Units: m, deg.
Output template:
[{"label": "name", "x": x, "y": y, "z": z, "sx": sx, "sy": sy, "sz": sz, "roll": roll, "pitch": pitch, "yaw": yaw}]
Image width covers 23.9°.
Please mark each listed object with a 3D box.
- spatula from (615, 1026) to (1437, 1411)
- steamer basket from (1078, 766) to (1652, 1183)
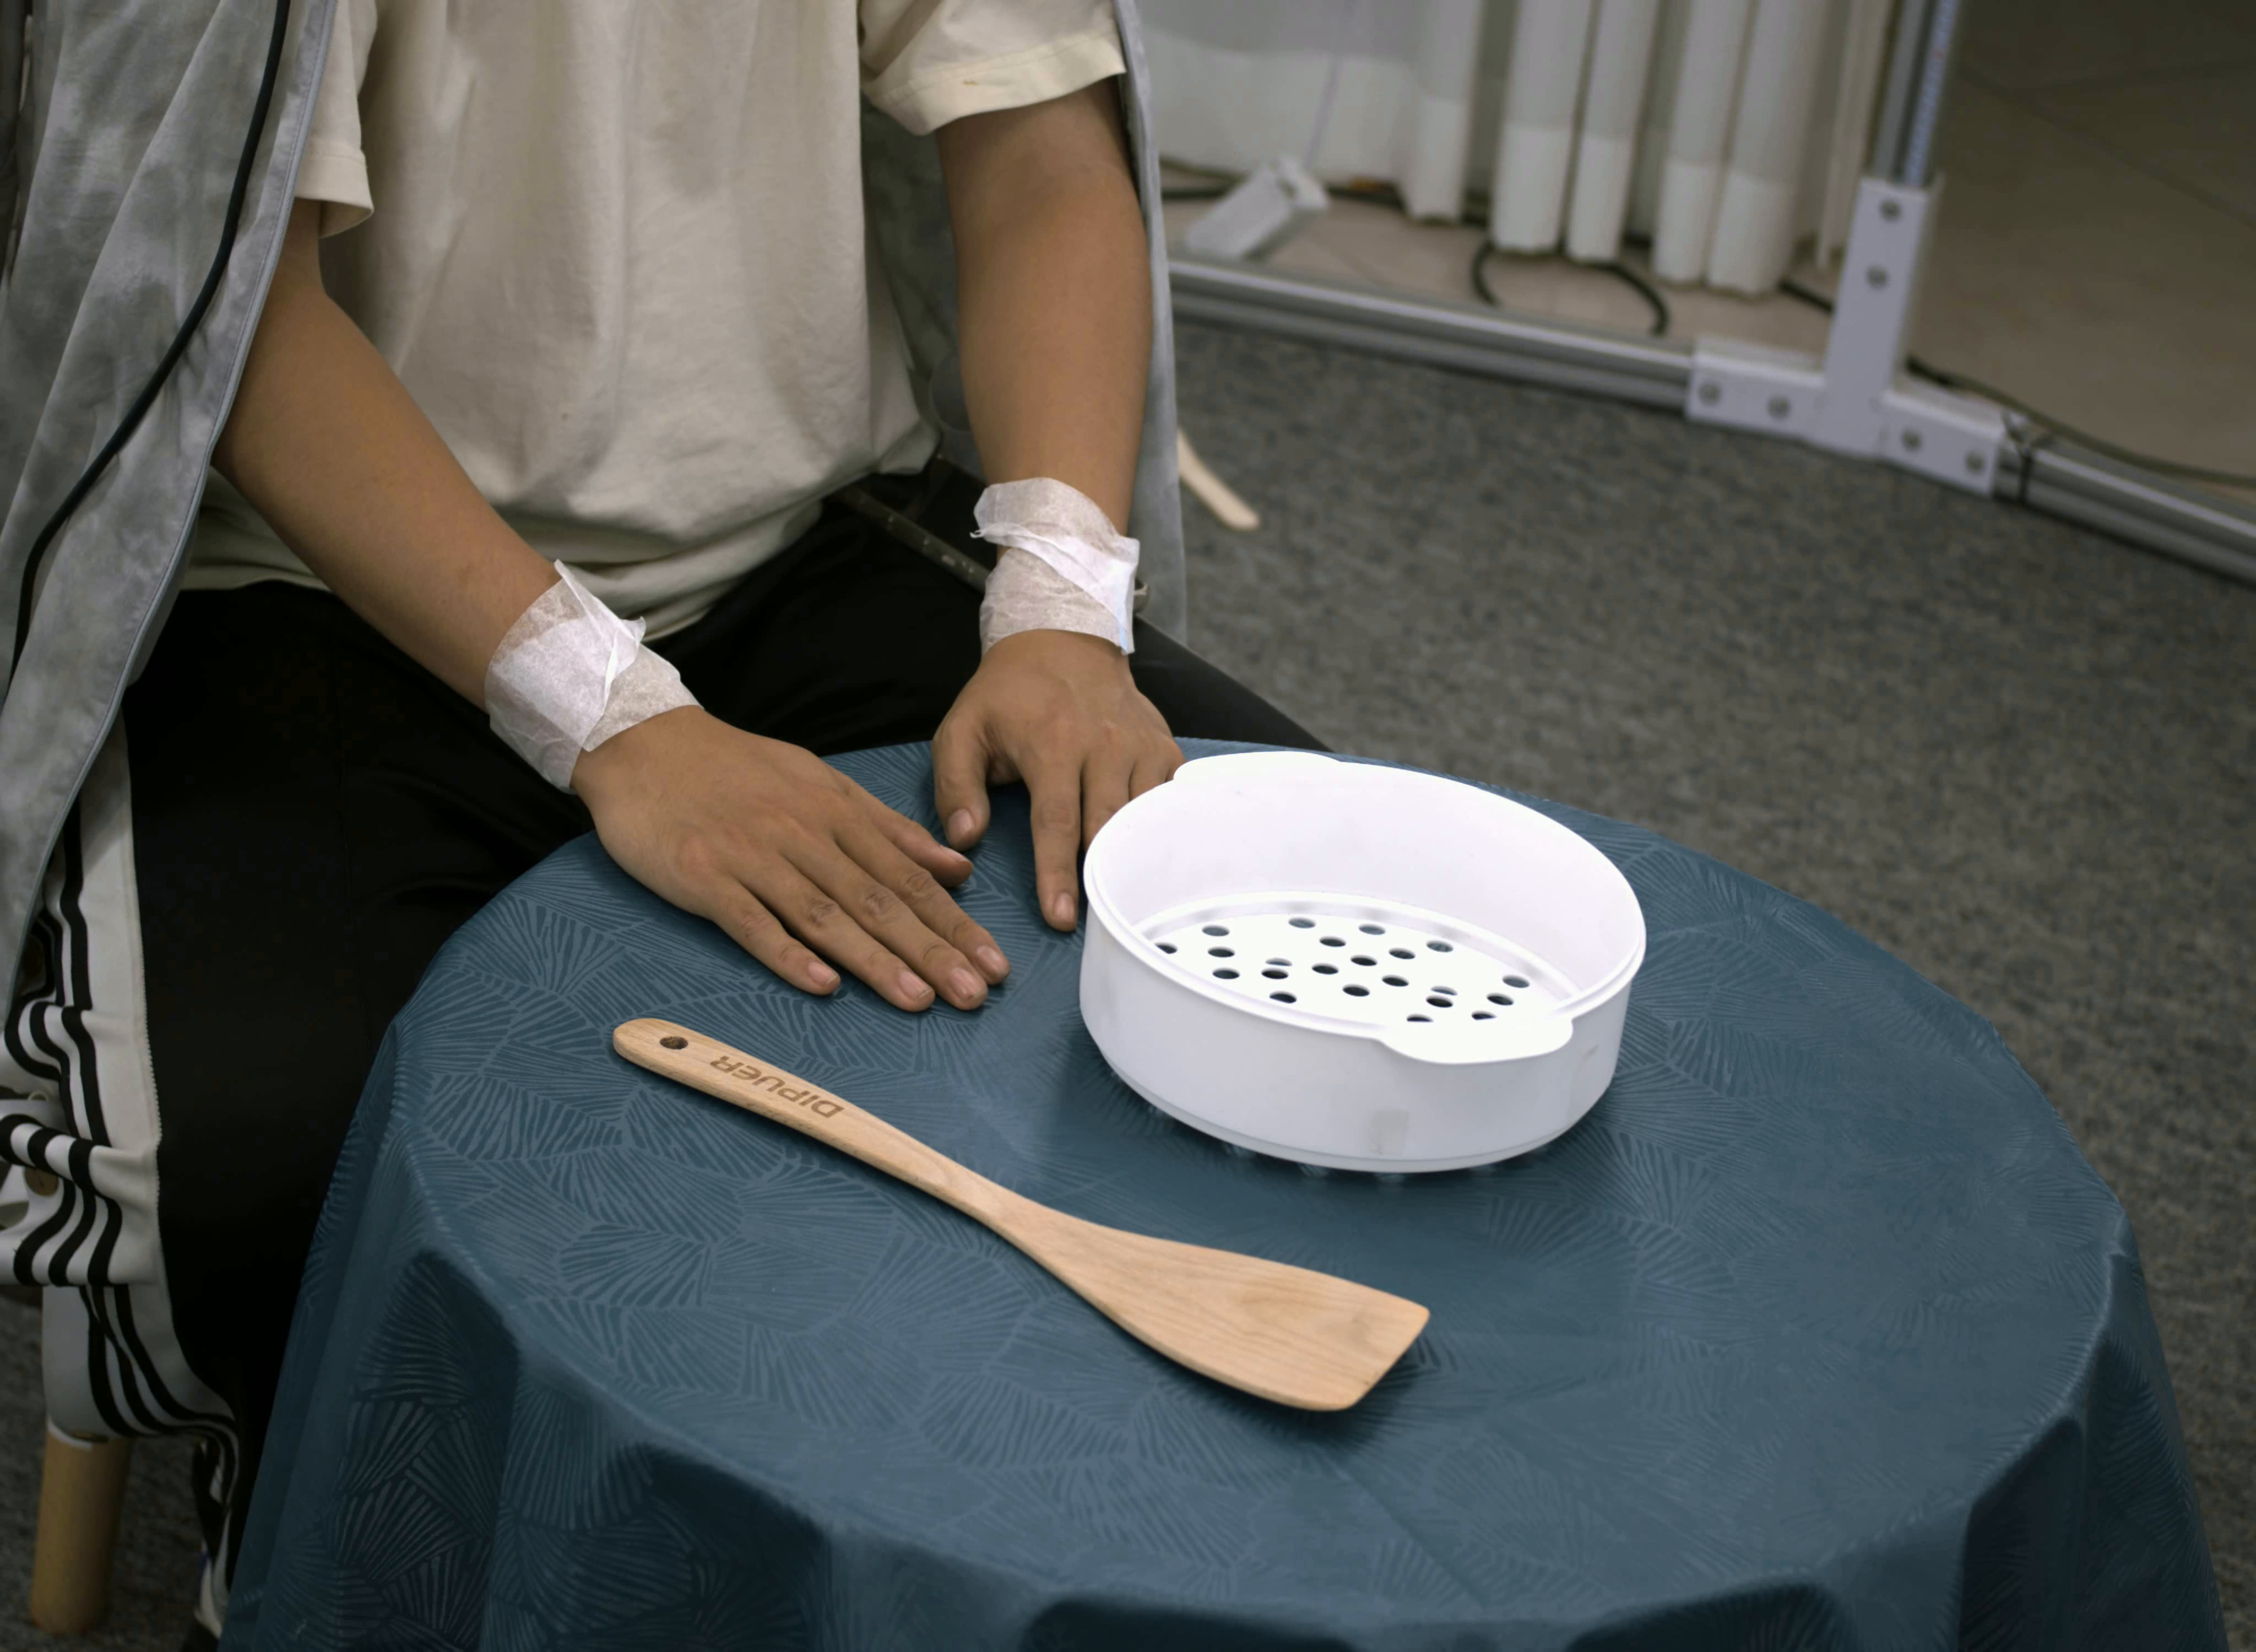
[{"label": "spatula", "x": -0.042, "y": 0.124, "z": 1.776, "sx": 0.329, "sy": 0.016, "sz": 0.079, "roll": 22, "pitch": 30, "yaw": 29}, {"label": "steamer basket", "x": 0.082, "y": 0.054, "z": 1.888, "sx": 0.200, "sy": 0.069, "sz": 0.232, "roll": -3, "pitch": 28, "yaw": -21}]
